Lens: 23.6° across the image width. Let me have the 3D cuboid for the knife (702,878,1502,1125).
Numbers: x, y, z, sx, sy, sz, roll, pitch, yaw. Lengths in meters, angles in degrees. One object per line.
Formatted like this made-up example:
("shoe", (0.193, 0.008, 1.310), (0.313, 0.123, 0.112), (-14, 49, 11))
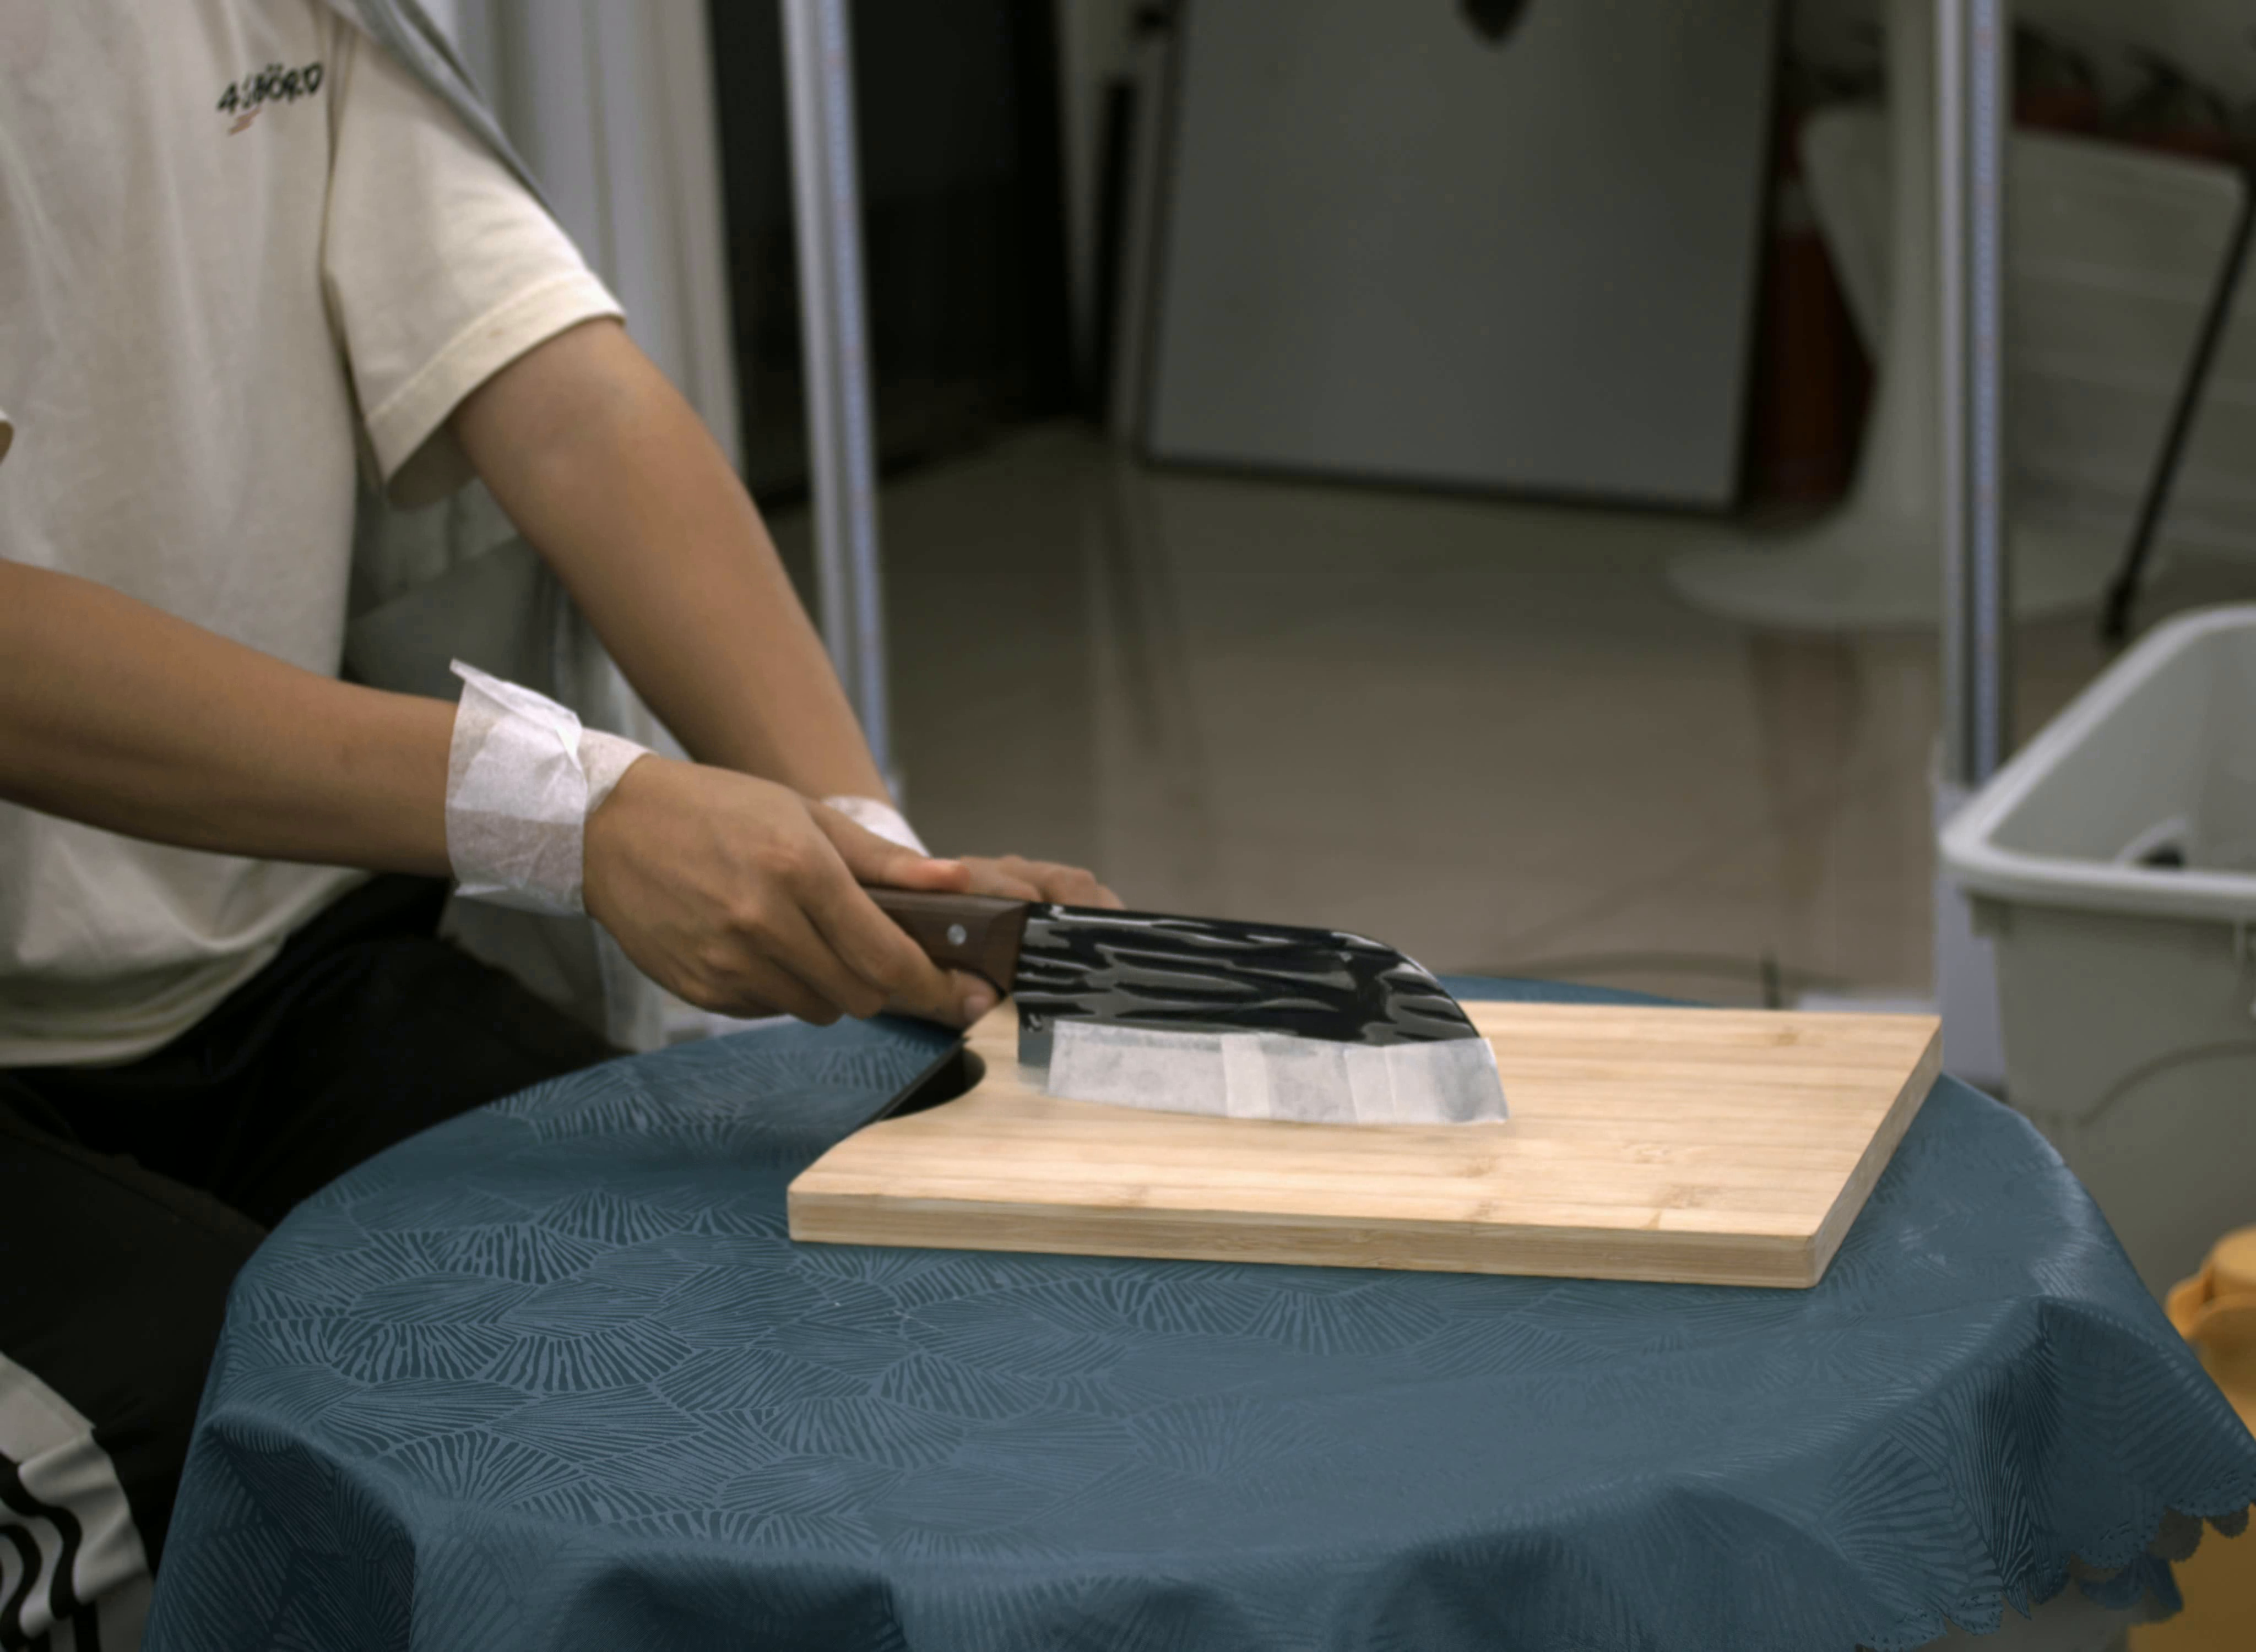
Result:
("knife", (-0.012, 0.059, 1.804), (0.300, 0.069, 0.023), (6, 9, 26))

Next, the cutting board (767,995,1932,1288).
("cutting board", (0.080, 0.102, 1.798), (0.348, 0.024, 0.248), (0, 14, 18))
